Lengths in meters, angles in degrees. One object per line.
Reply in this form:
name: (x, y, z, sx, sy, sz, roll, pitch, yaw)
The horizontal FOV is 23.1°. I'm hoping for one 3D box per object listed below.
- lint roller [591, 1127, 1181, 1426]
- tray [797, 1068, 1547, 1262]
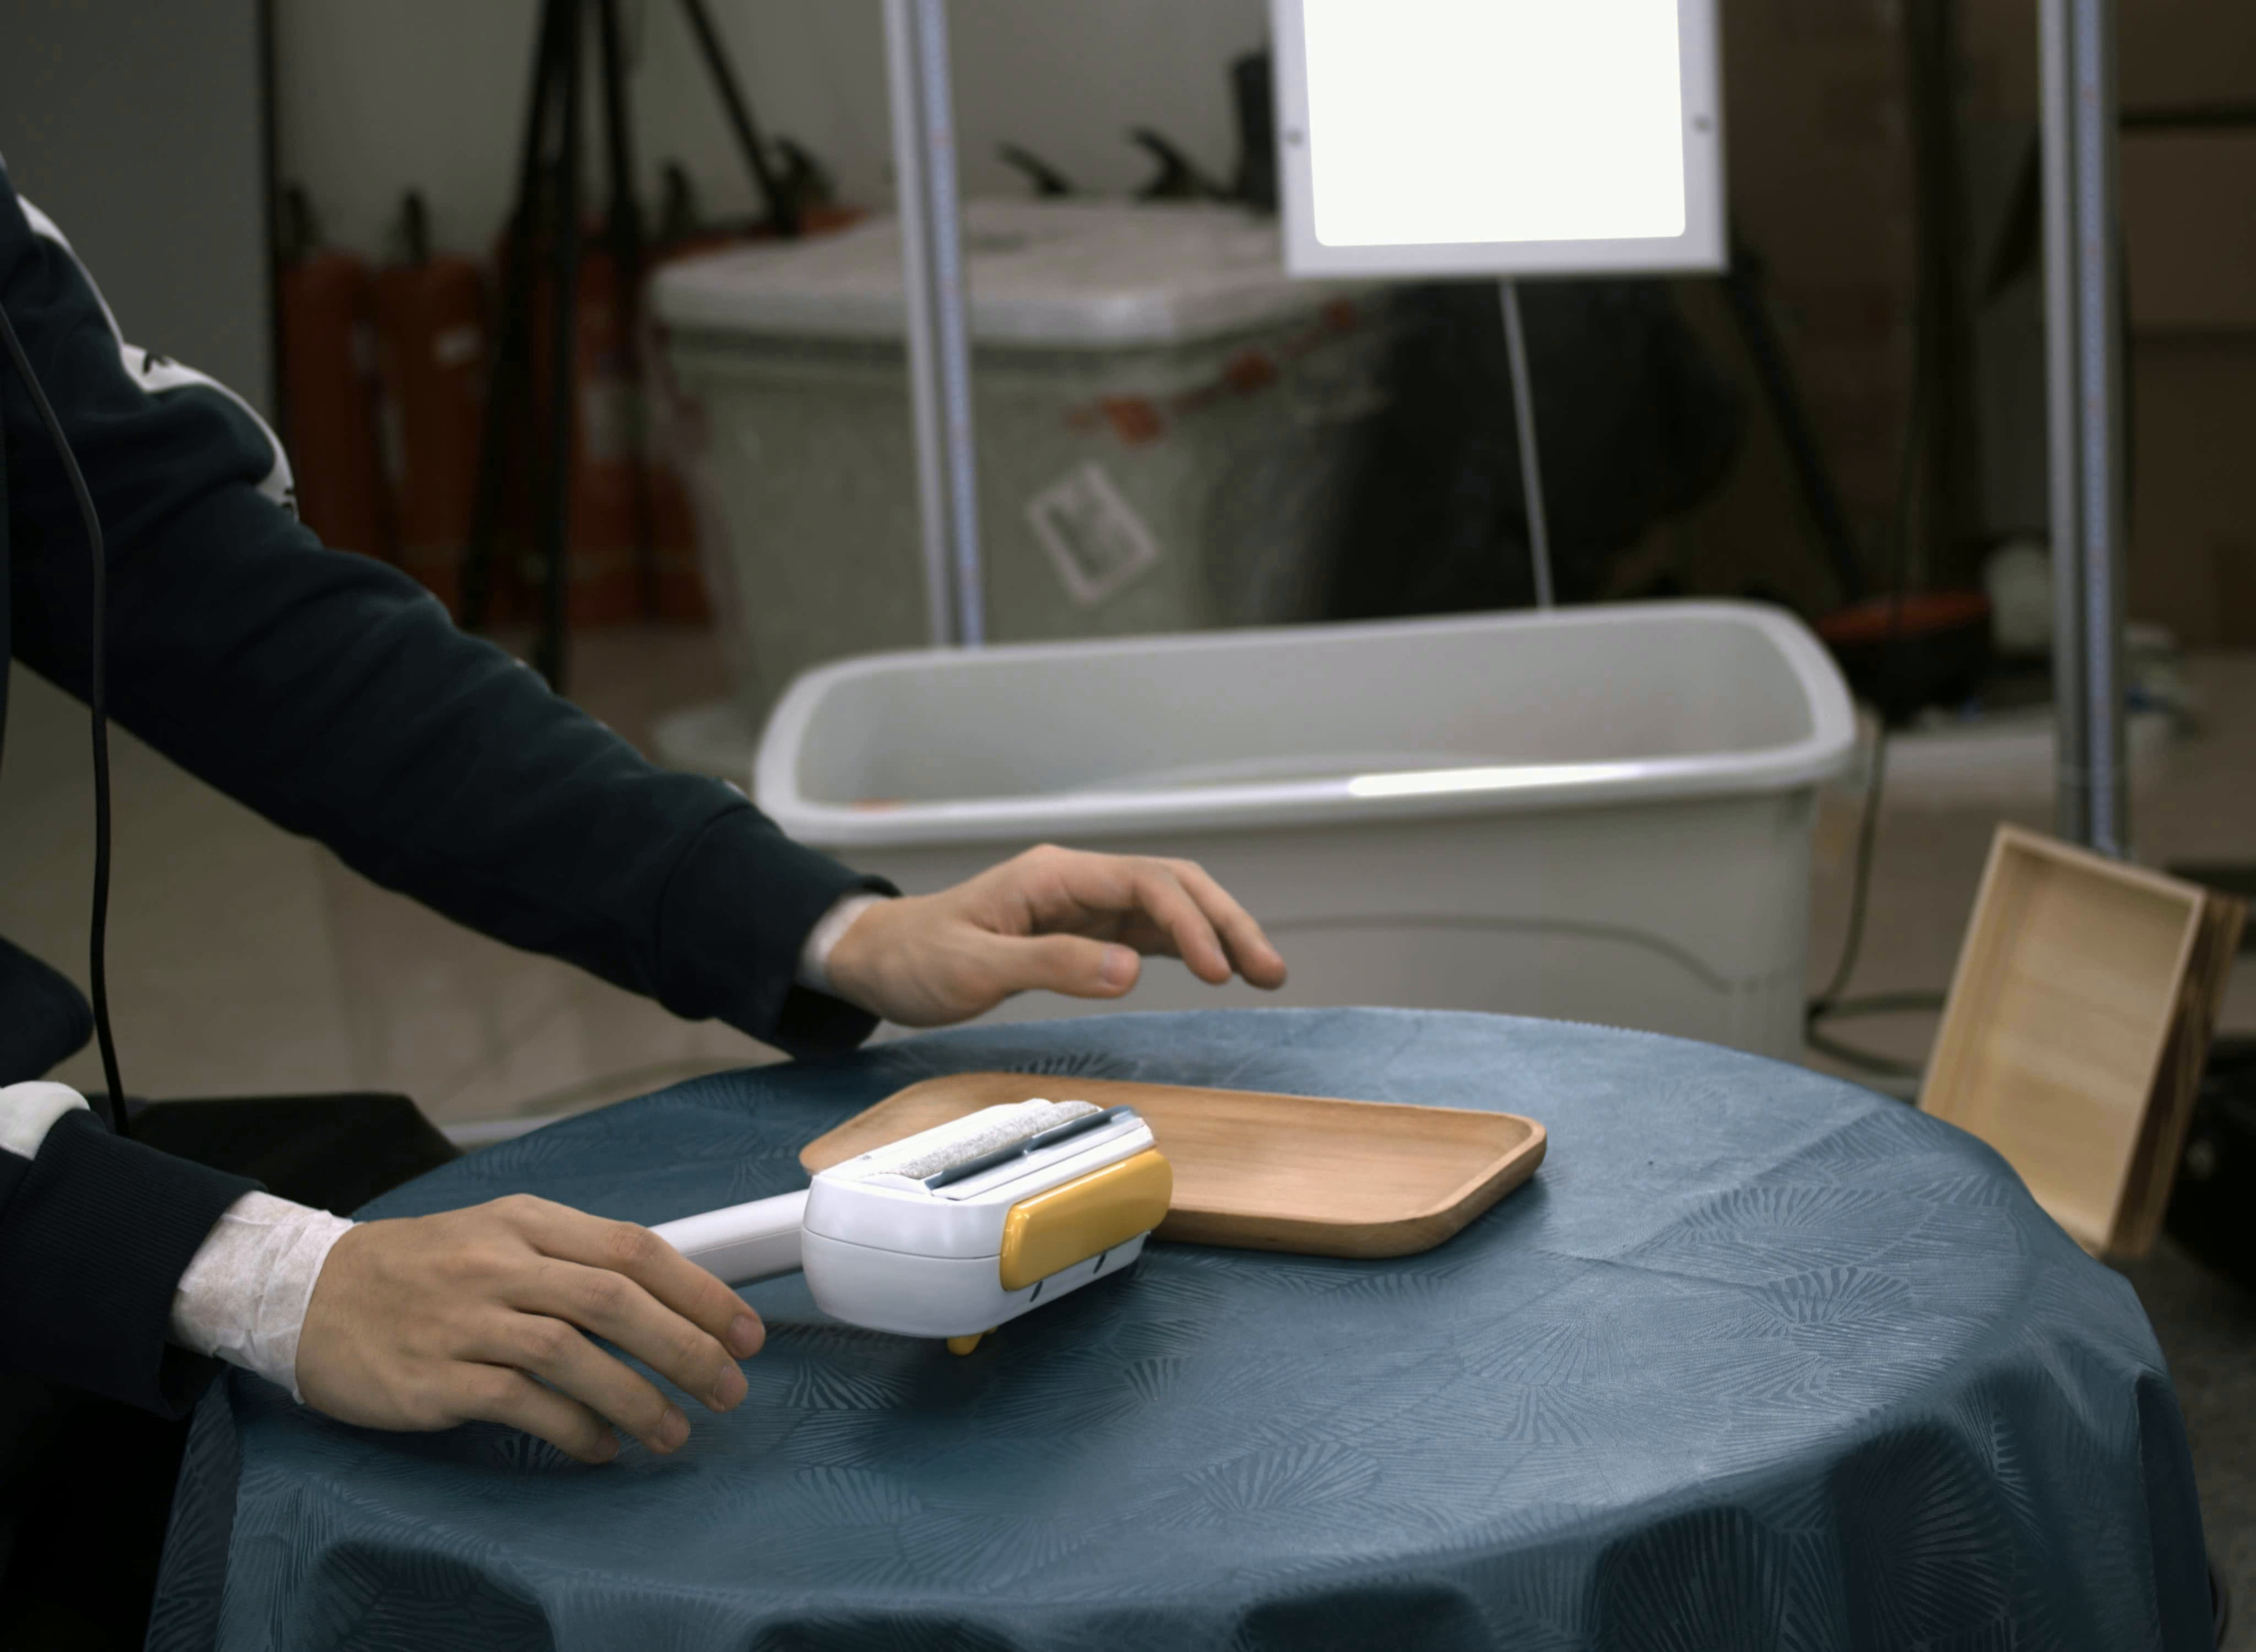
lint roller: (-0.095, 0.149, 1.773, 0.196, 0.074, 0.189, -14, 2, 28)
tray: (0.015, 0.116, 1.899, 0.255, 0.023, 0.127, 3, 14, 31)
